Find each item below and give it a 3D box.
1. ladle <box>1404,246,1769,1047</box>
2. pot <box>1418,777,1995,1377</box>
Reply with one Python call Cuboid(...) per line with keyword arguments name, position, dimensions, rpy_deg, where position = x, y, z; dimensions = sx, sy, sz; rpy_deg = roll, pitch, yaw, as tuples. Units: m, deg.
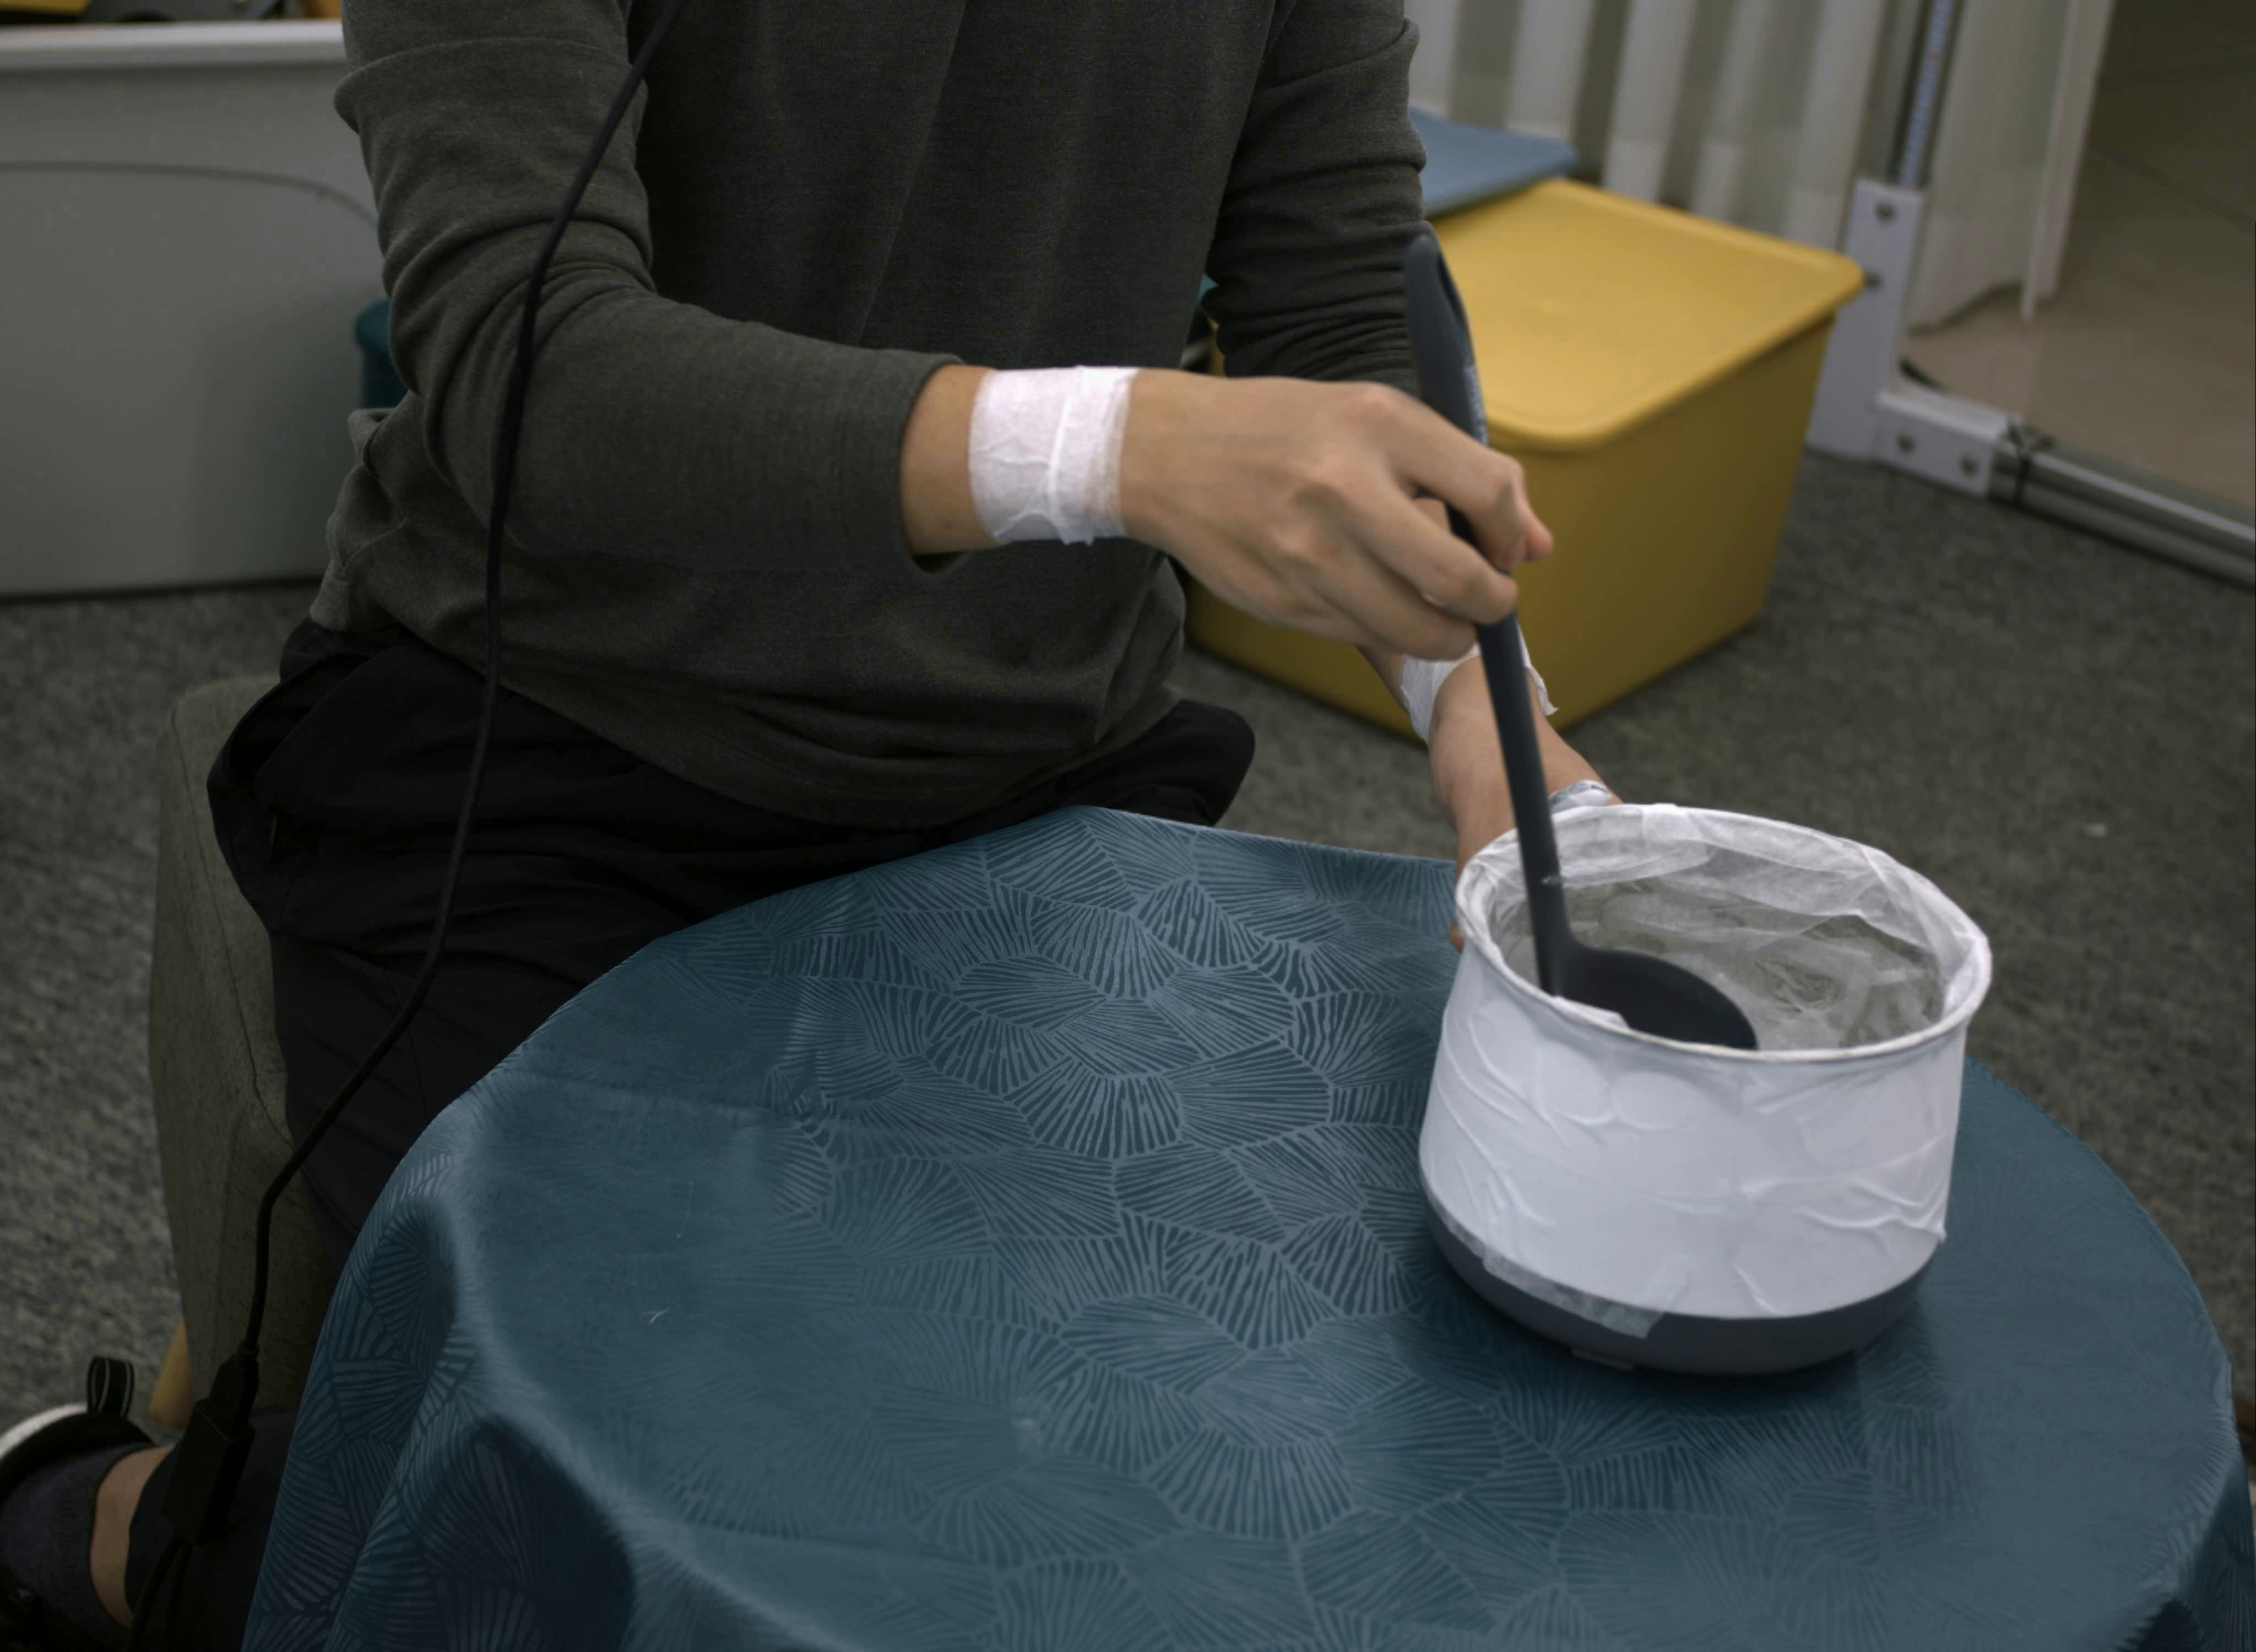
Cuboid(name="ladle", position=(0.145, -0.039, 1.687), dimensions=(0.064, 0.313, 0.086), rpy_deg=(-6, 24, 19))
Cuboid(name="pot", position=(0.177, 0.077, 1.787), dimensions=(0.177, 0.136, 0.236), rpy_deg=(-5, 28, -23))
